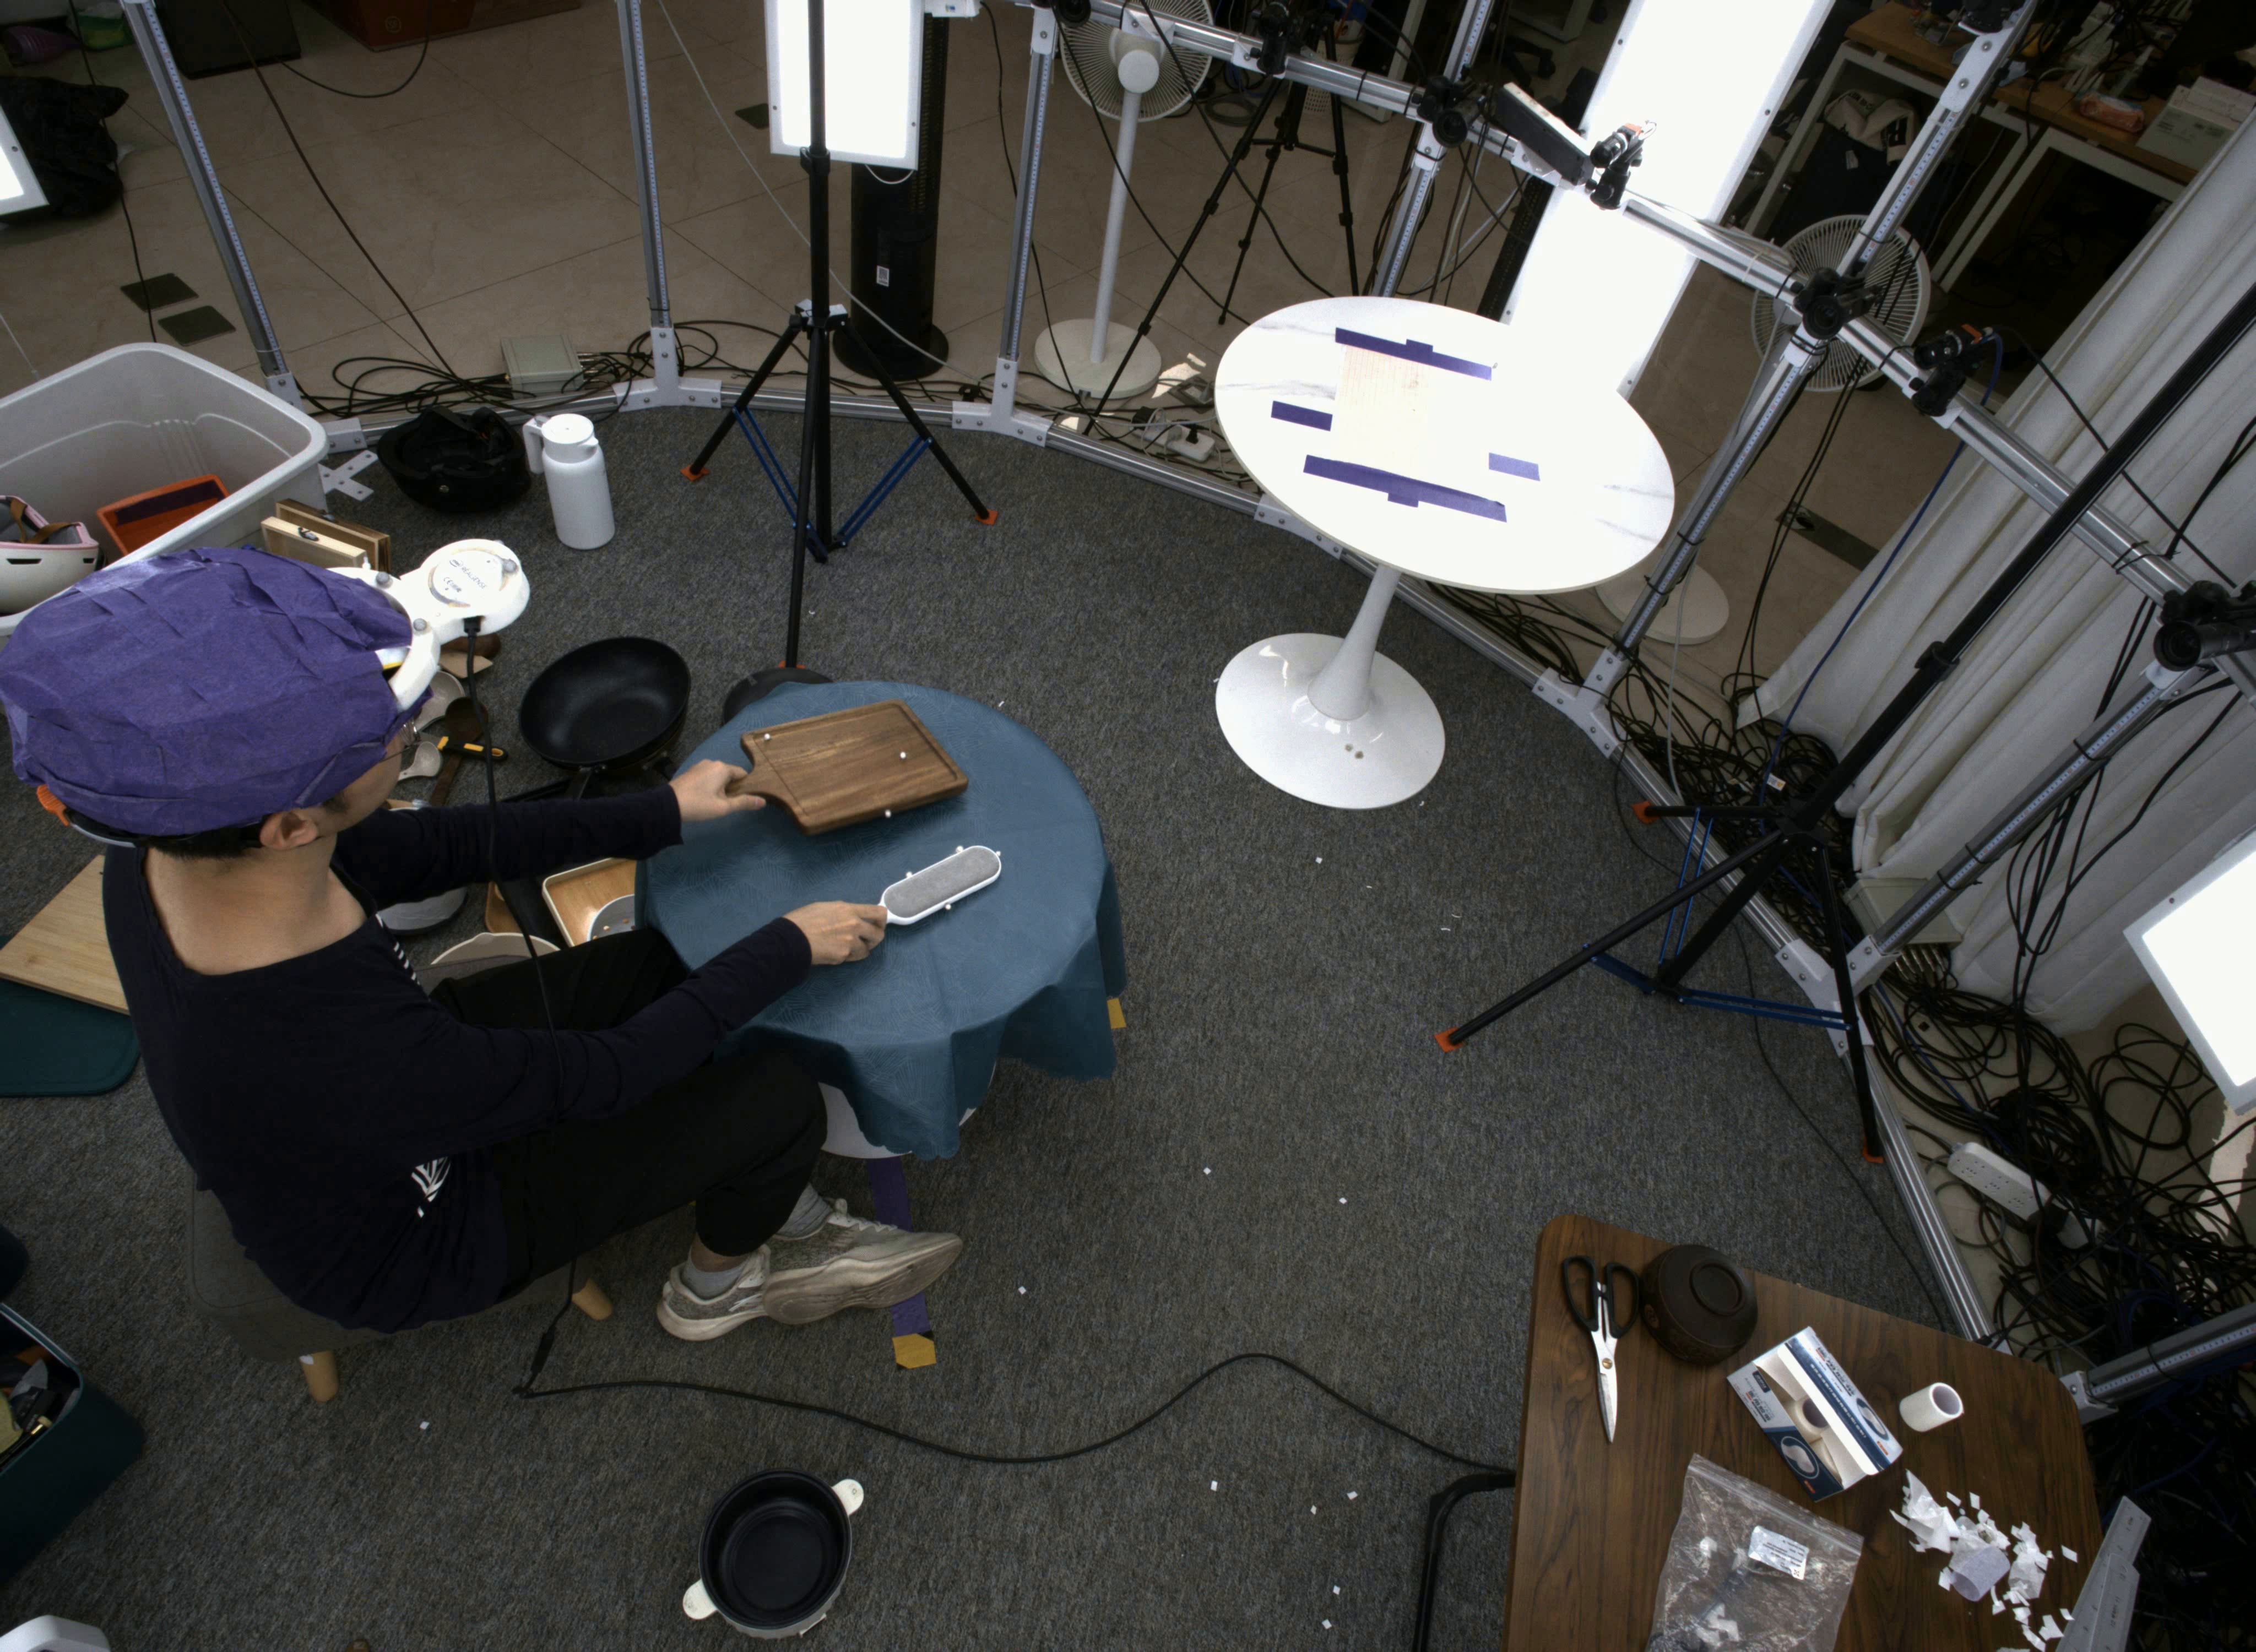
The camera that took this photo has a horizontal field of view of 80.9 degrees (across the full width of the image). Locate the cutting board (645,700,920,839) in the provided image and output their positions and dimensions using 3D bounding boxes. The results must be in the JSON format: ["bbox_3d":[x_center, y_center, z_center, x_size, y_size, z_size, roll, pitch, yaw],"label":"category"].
[{"bbox_3d":[-0.472,-0.069,1.710,0.355,0.024,0.195,-21,53,-37],"label":"cutting board"}]

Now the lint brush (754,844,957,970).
[{"bbox_3d":[-0.340,0.099,1.645,0.310,0.021,0.060,-31,82,-38],"label":"lint brush"}]
